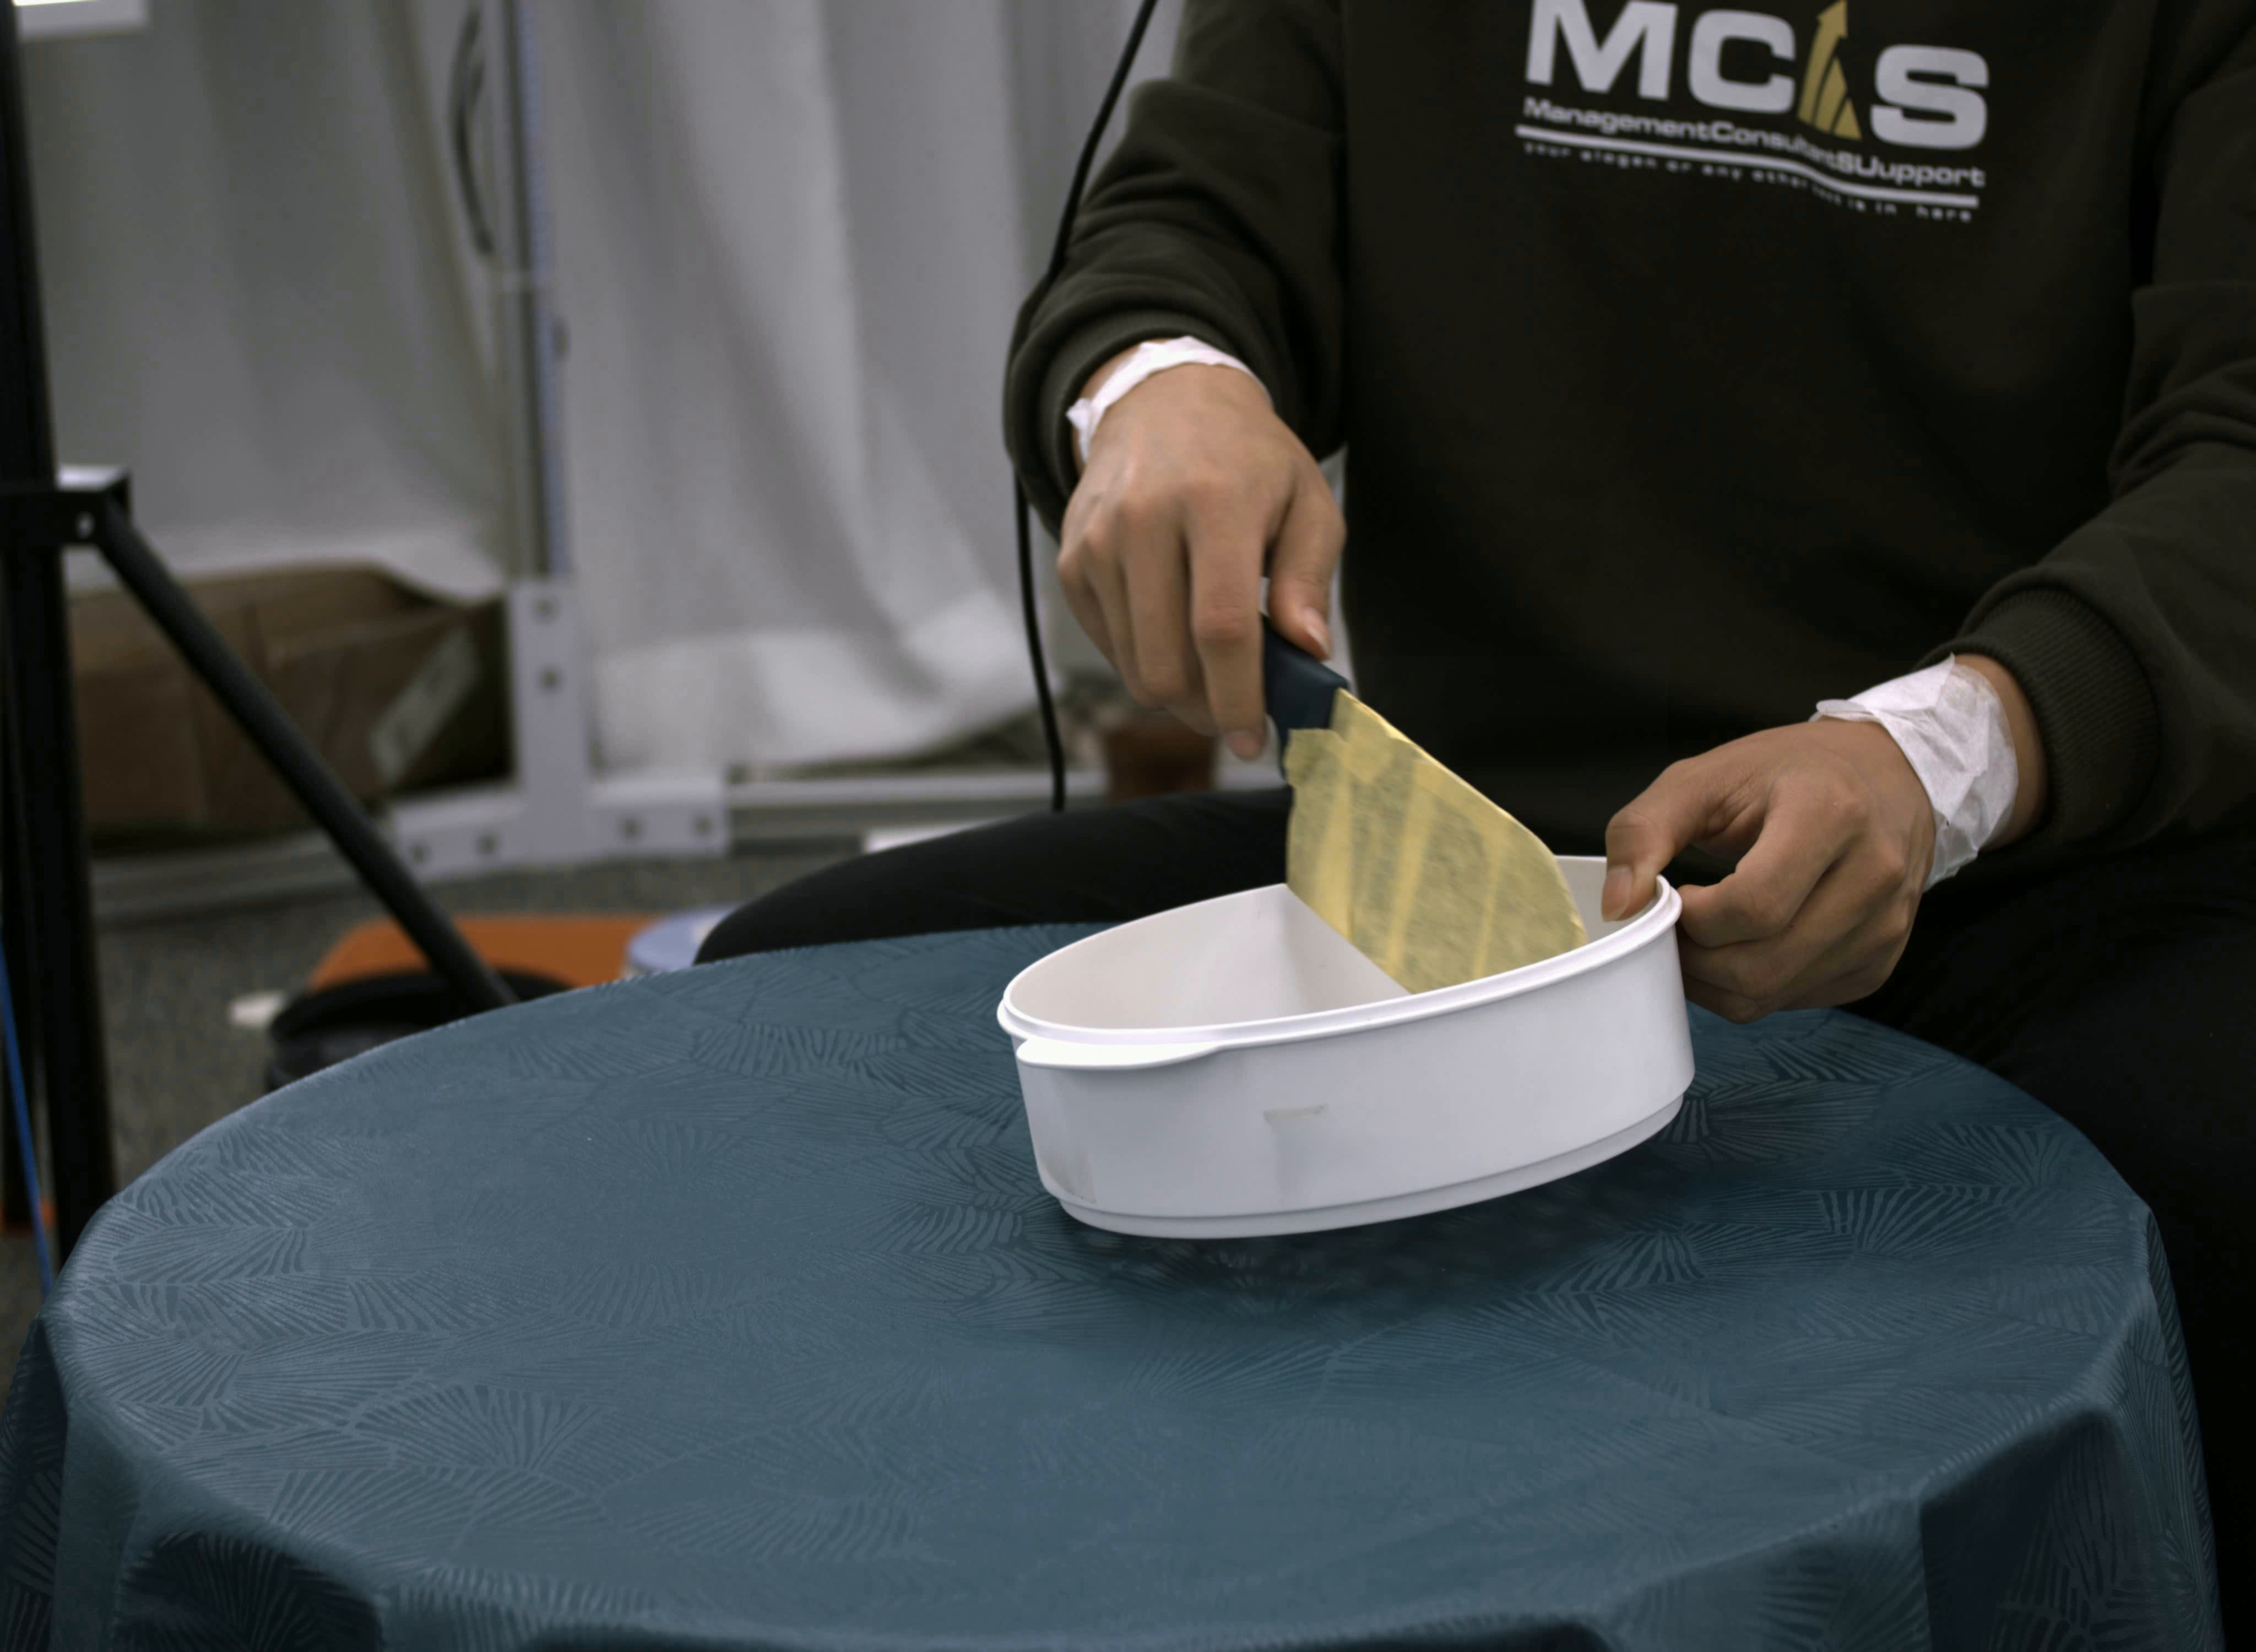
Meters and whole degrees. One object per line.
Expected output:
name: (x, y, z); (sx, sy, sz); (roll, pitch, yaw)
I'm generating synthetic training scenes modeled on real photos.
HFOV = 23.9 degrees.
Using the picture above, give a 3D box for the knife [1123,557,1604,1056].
knife: (0.068, -0.006, 1.593); (0.026, 0.081, 0.296); (-1, 27, -29)

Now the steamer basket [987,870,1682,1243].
steamer basket: (0.062, 0.067, 1.539); (0.206, 0.069, 0.225); (1, 14, 44)
